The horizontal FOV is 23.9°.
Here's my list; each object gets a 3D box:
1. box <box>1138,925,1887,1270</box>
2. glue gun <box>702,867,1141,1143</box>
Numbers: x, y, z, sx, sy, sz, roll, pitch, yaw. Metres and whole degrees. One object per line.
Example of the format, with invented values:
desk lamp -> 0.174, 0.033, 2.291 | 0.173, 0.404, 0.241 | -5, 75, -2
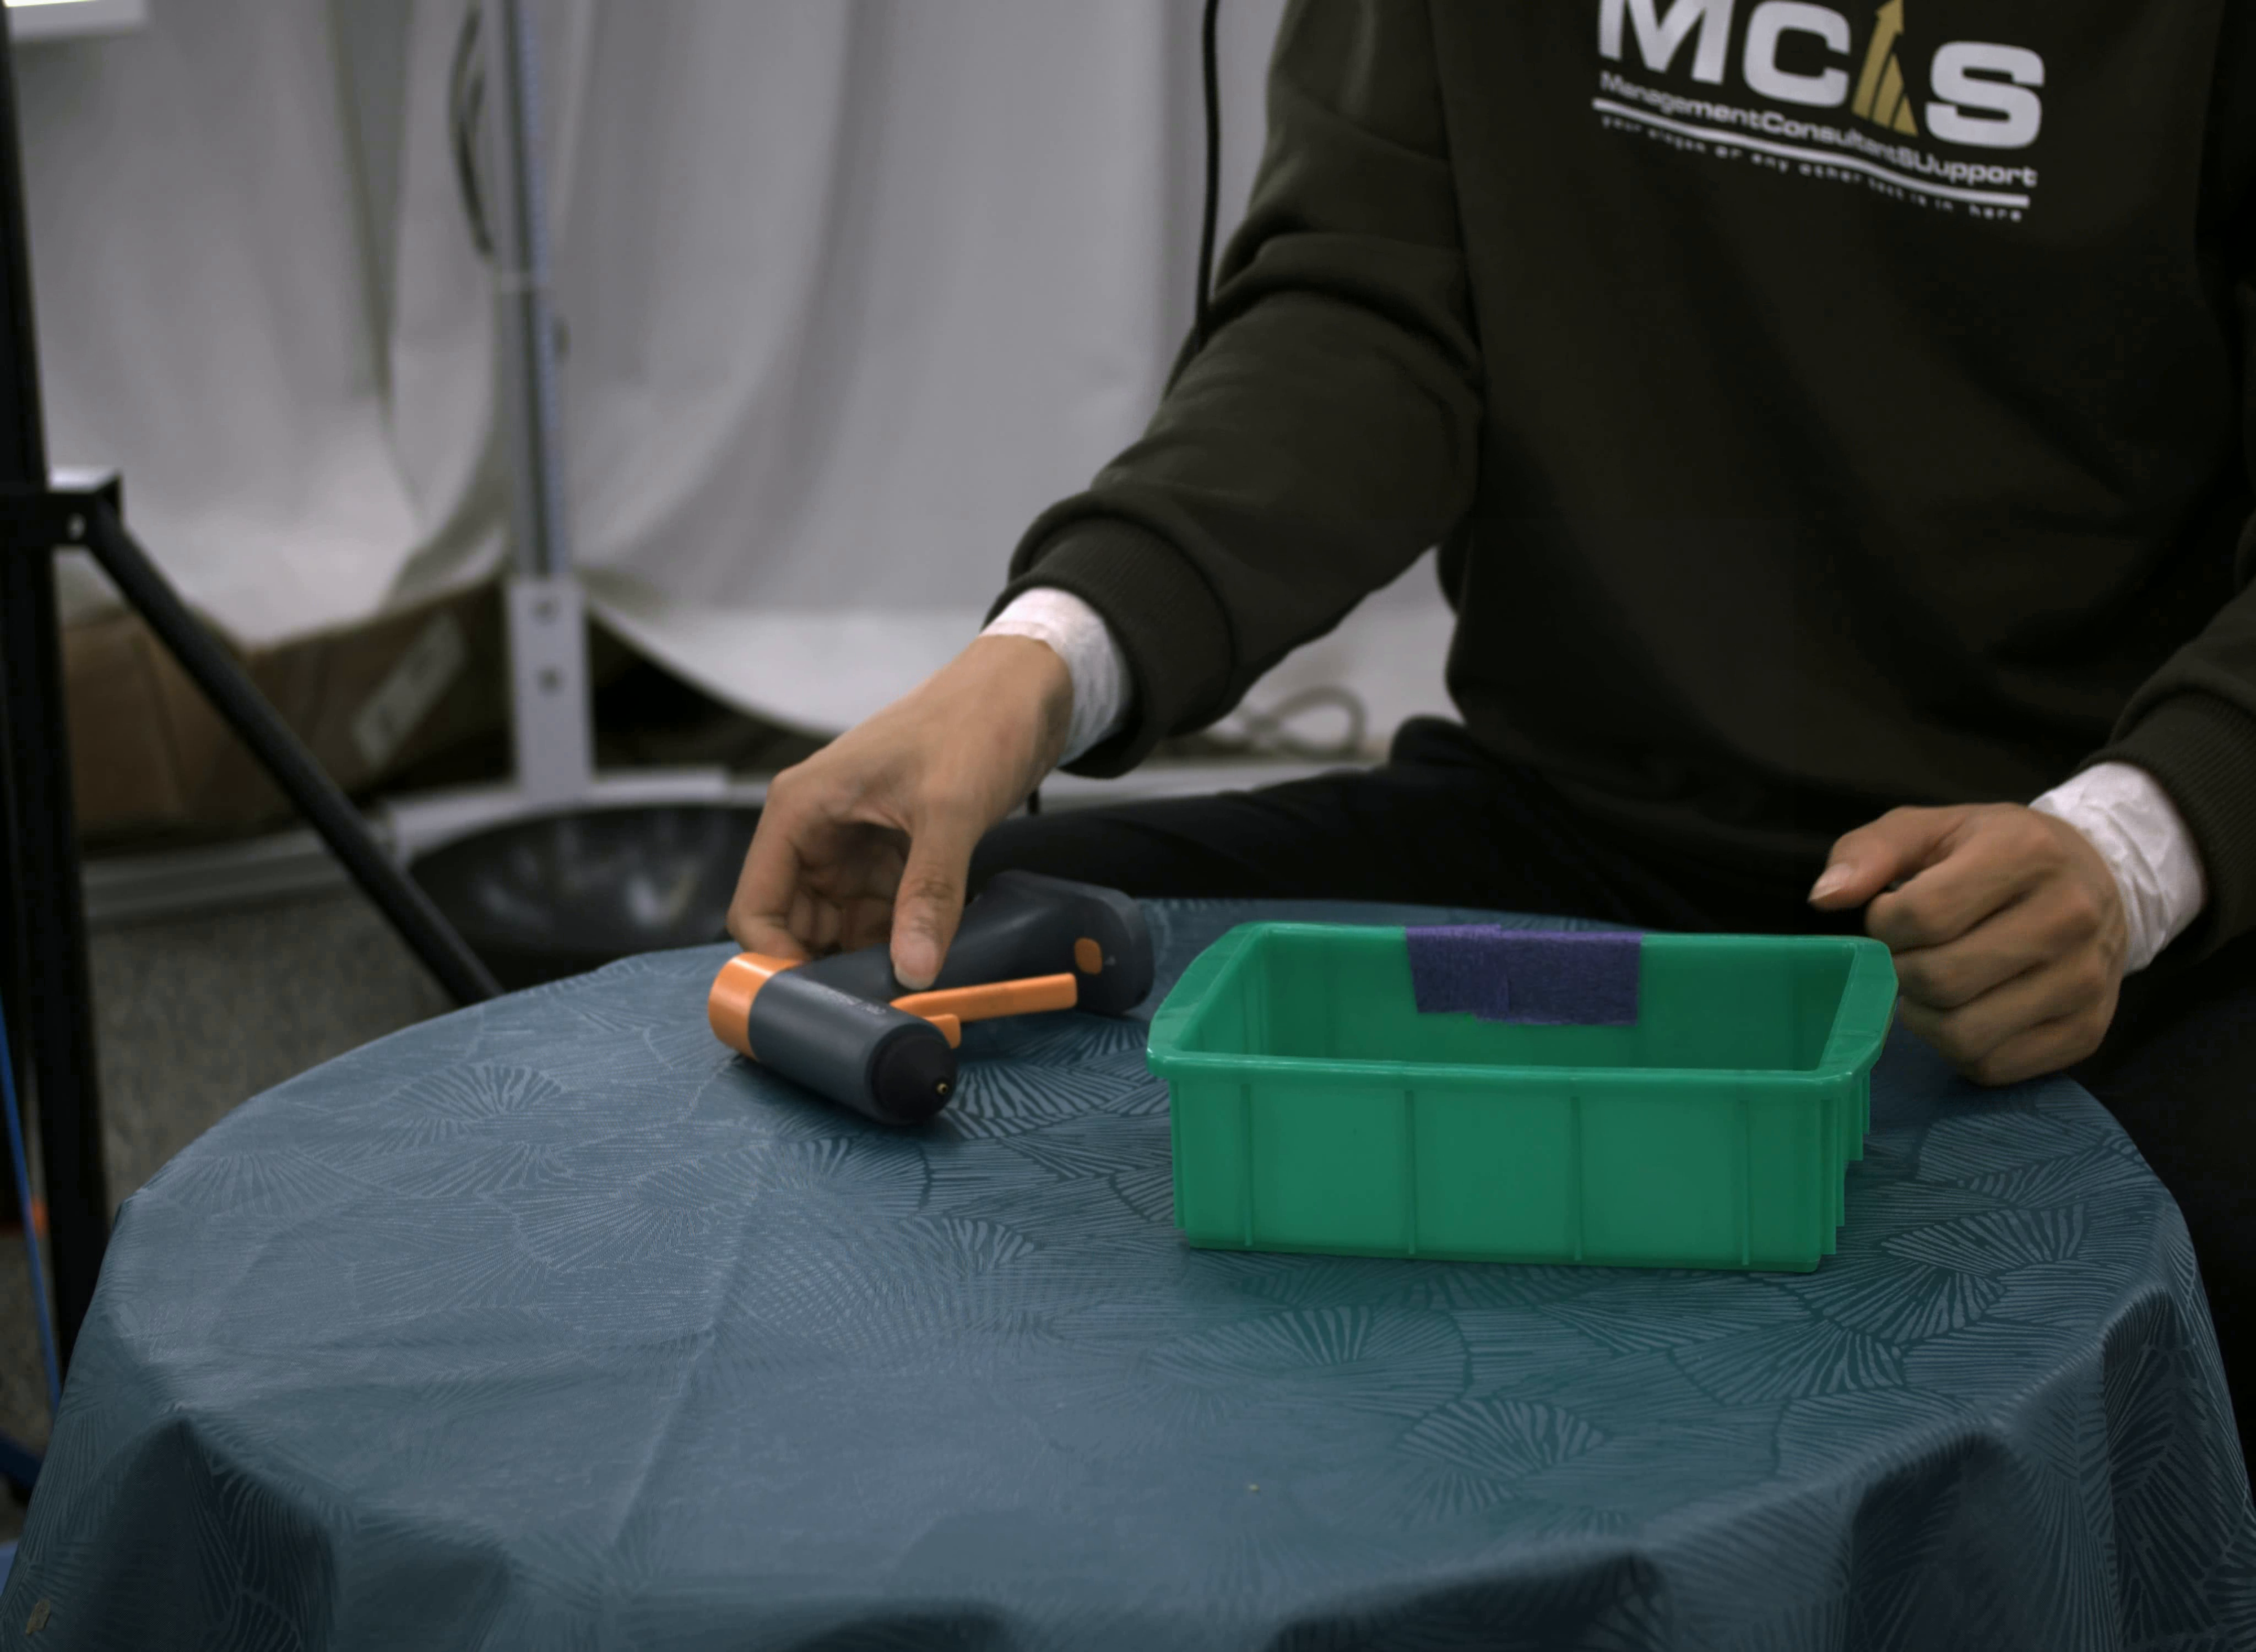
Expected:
box -> 0.113, 0.079, 1.530 | 0.212, 0.065, 0.138 | 0, 14, 14
glue gun -> -0.061, 0.058, 1.685 | 0.120, 0.041, 0.137 | 17, 27, 37
